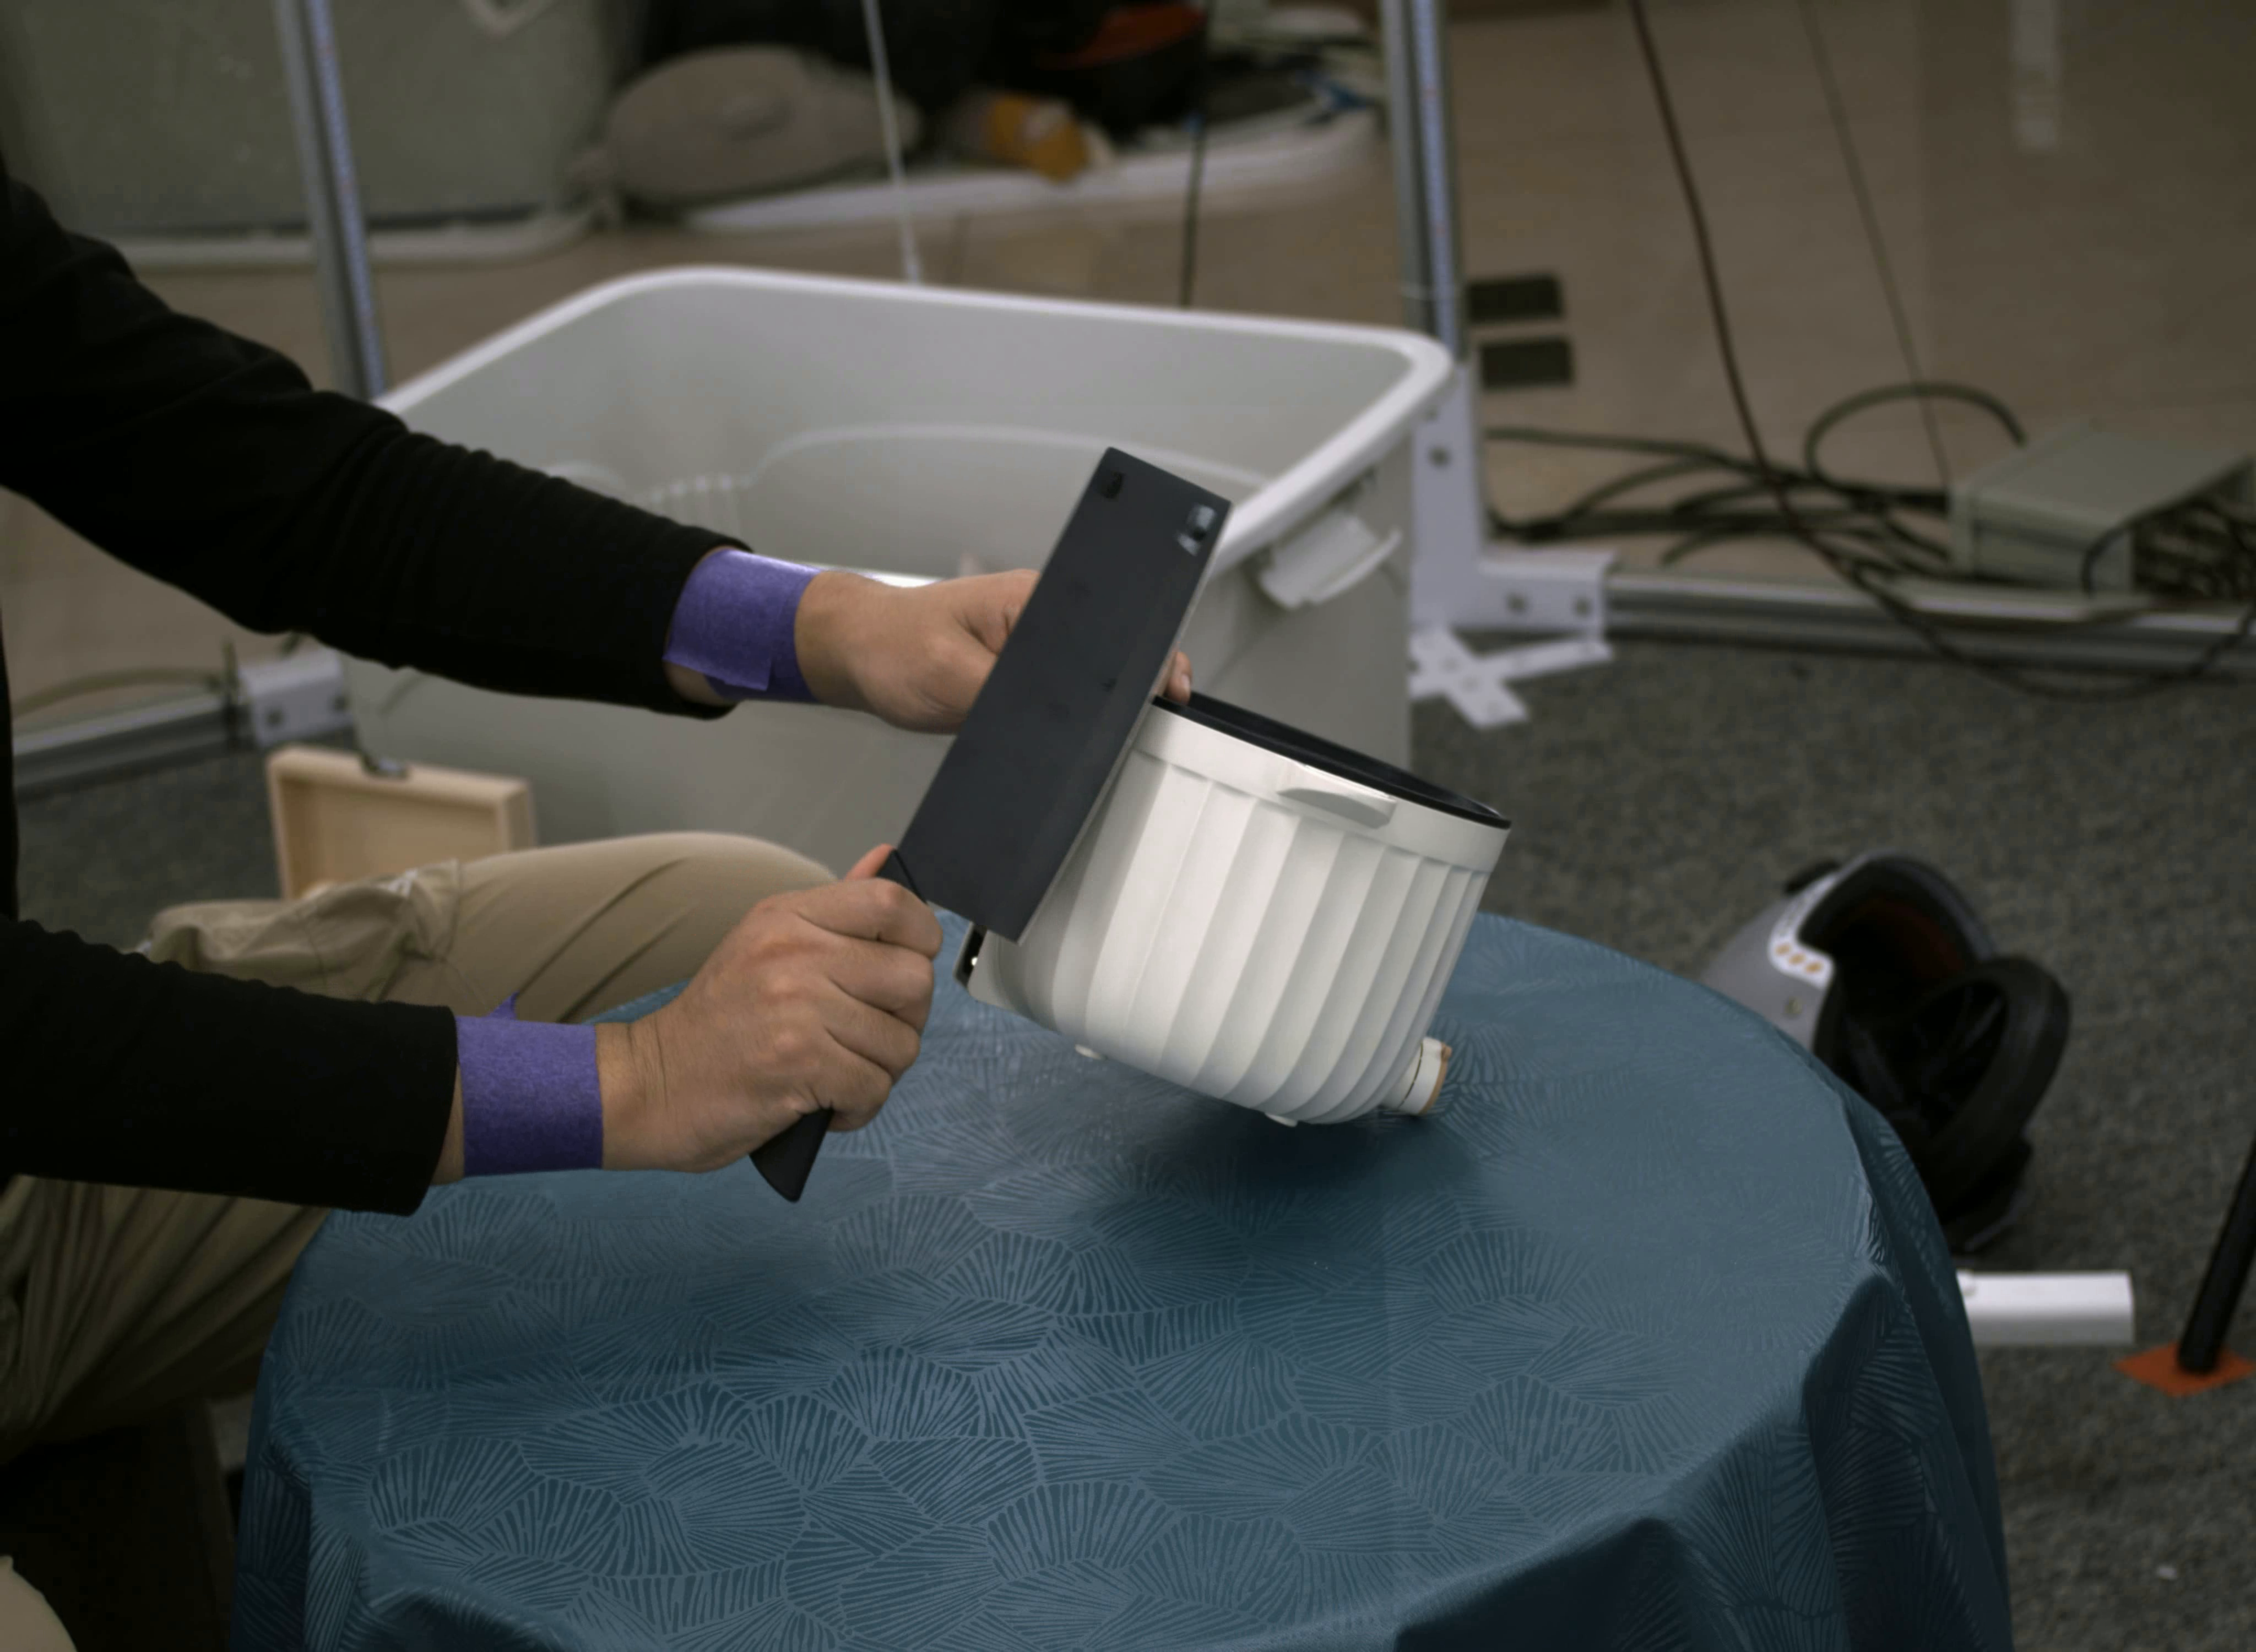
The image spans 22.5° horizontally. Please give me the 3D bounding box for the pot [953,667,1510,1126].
[{"bbox_3d":[0.043,0.030,2.153,0.191,0.143,0.238,16,6,-14],"label":"pot"}]

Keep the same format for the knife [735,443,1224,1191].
[{"bbox_3d":[-0.057,-0.001,2.077,0.080,0.303,0.021,32,2,30],"label":"knife"}]
